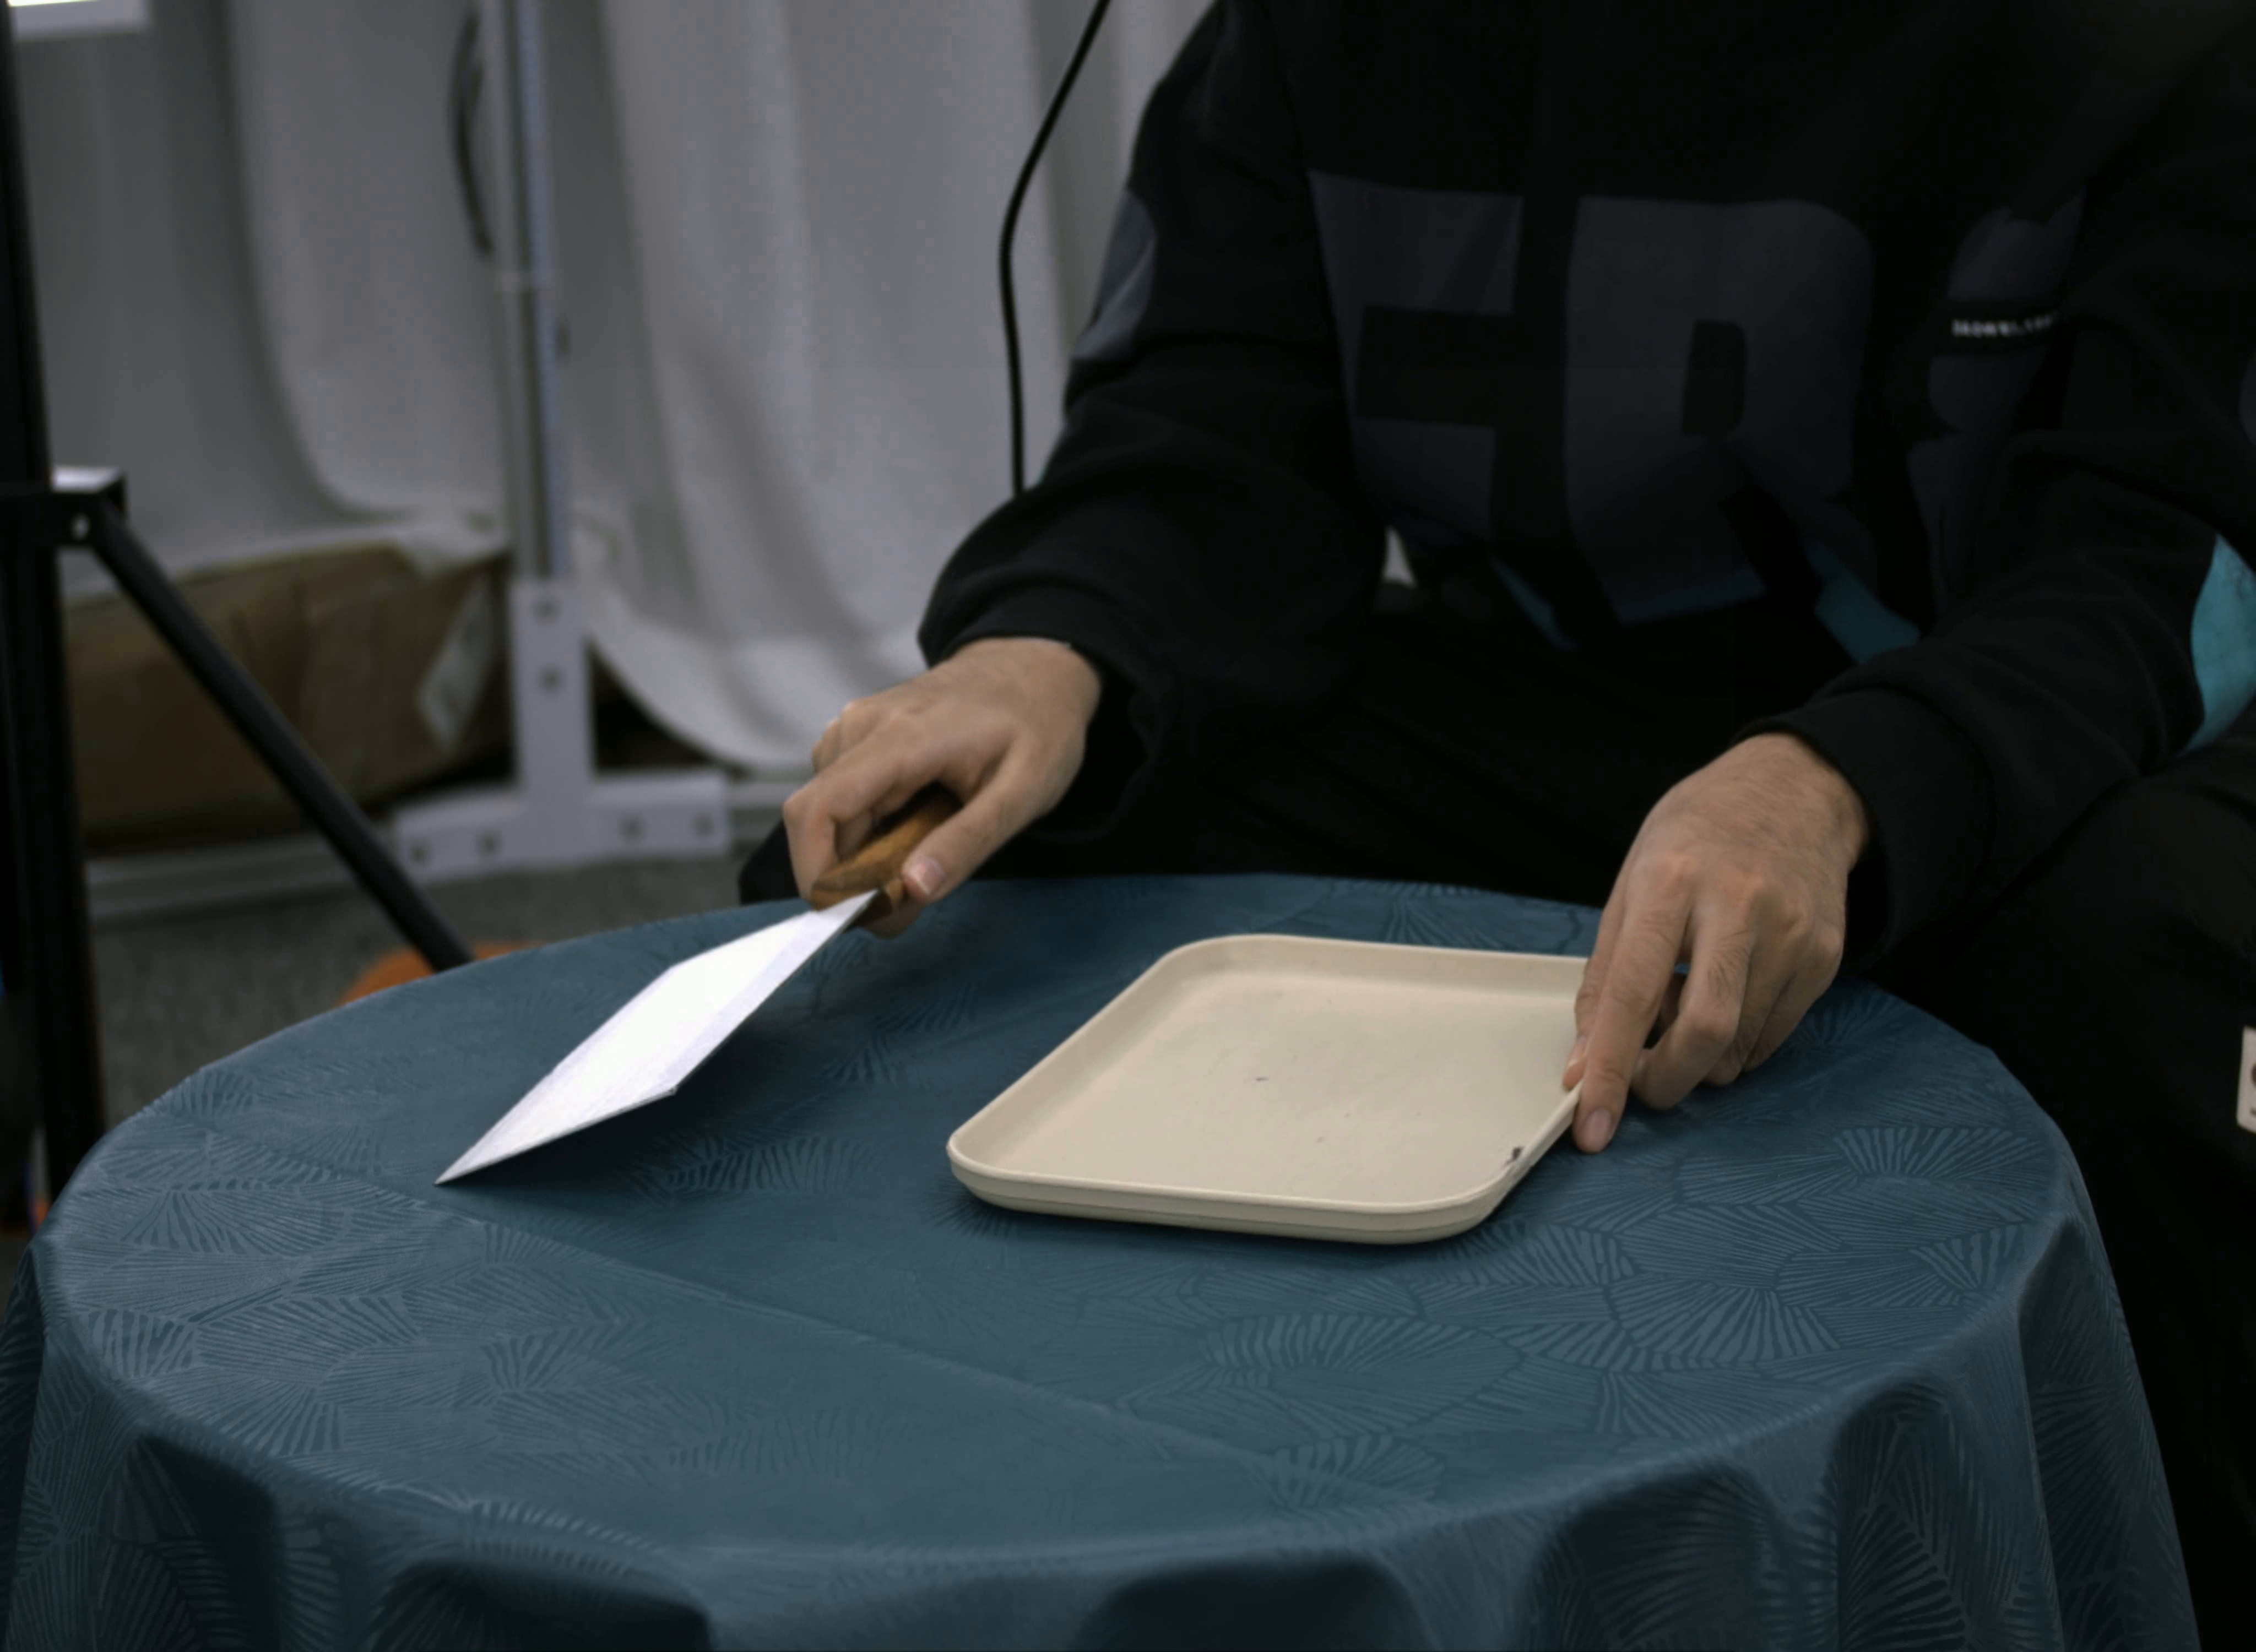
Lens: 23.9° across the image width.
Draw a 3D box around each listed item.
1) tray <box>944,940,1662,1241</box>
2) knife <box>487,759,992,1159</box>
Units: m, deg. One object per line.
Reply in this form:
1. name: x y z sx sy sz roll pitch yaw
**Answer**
1. tray: 0.058 0.079 1.614 0.173 0.017 0.236 3 16 22
2. knife: -0.124 0.043 1.713 0.094 0.021 0.303 -23 10 24
